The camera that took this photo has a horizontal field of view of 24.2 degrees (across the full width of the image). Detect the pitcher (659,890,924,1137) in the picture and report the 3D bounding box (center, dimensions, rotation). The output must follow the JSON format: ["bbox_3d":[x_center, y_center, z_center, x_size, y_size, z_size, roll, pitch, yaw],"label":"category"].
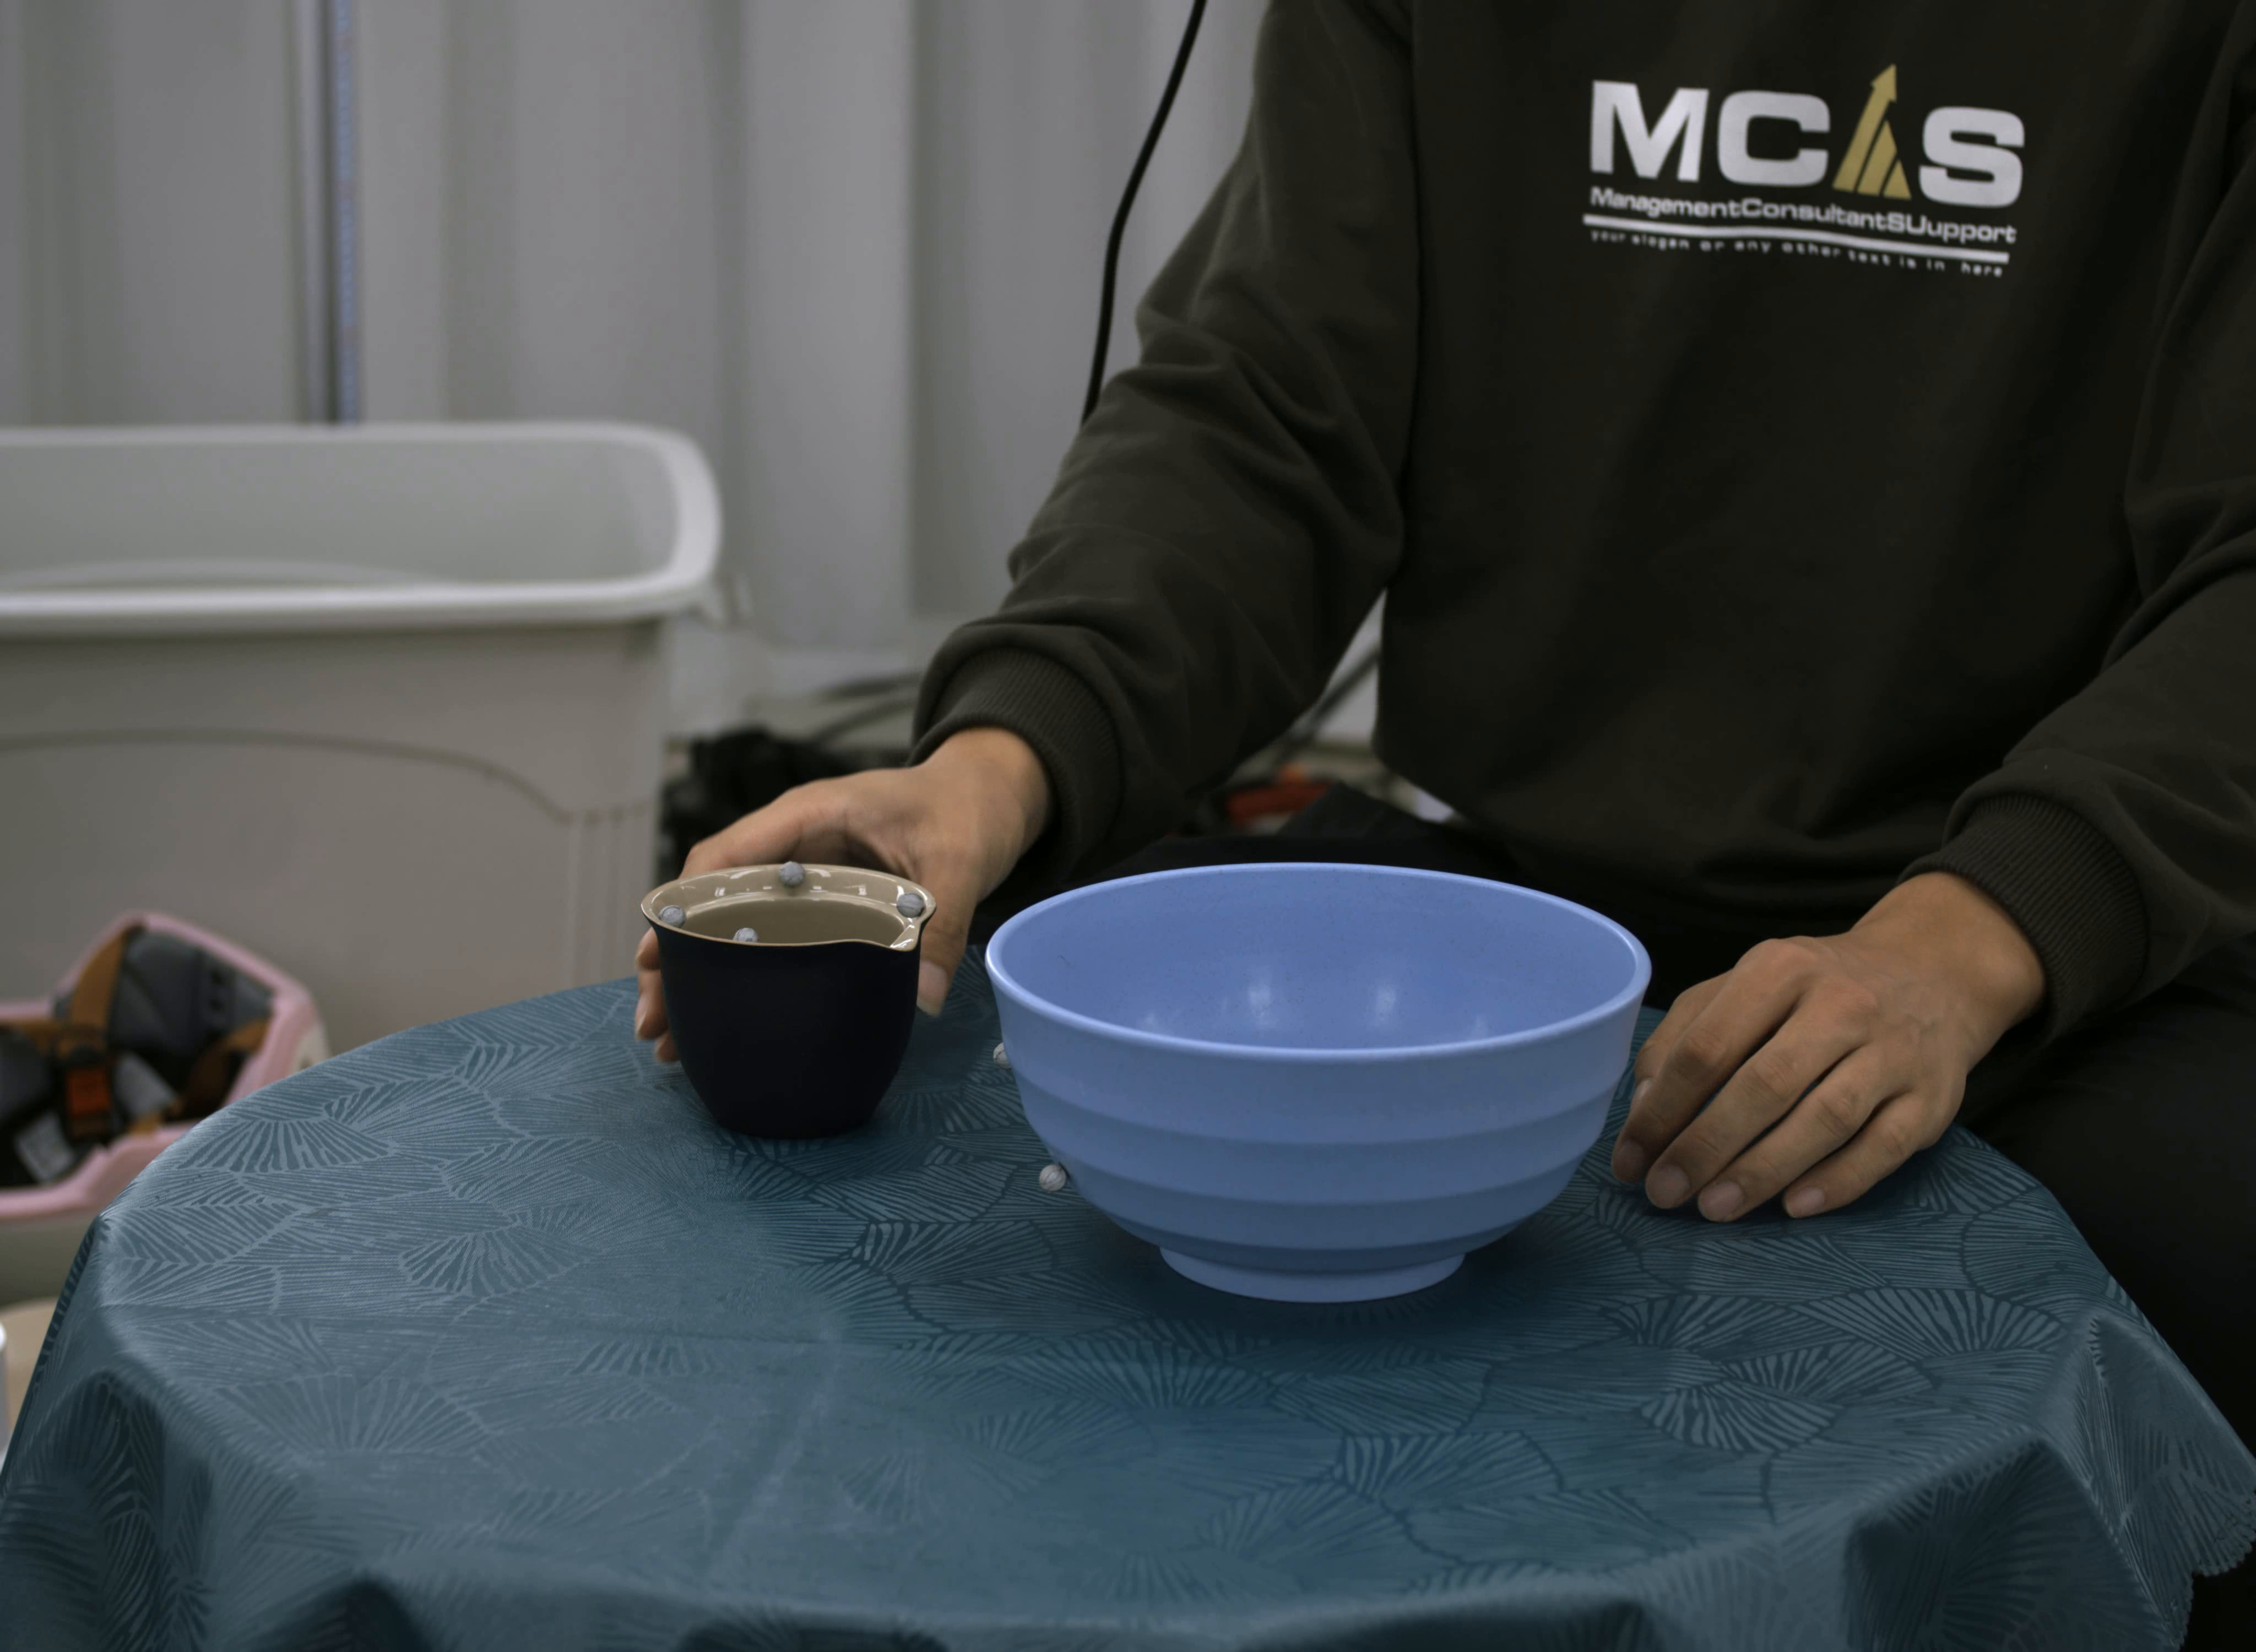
[{"bbox_3d":[-0.104,0.059,1.681,0.094,0.072,0.084,14,19,41],"label":"pitcher"}]

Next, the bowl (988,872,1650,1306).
[{"bbox_3d":[0.055,0.083,1.568,0.196,0.096,0.195,2,14,0],"label":"bowl"}]
